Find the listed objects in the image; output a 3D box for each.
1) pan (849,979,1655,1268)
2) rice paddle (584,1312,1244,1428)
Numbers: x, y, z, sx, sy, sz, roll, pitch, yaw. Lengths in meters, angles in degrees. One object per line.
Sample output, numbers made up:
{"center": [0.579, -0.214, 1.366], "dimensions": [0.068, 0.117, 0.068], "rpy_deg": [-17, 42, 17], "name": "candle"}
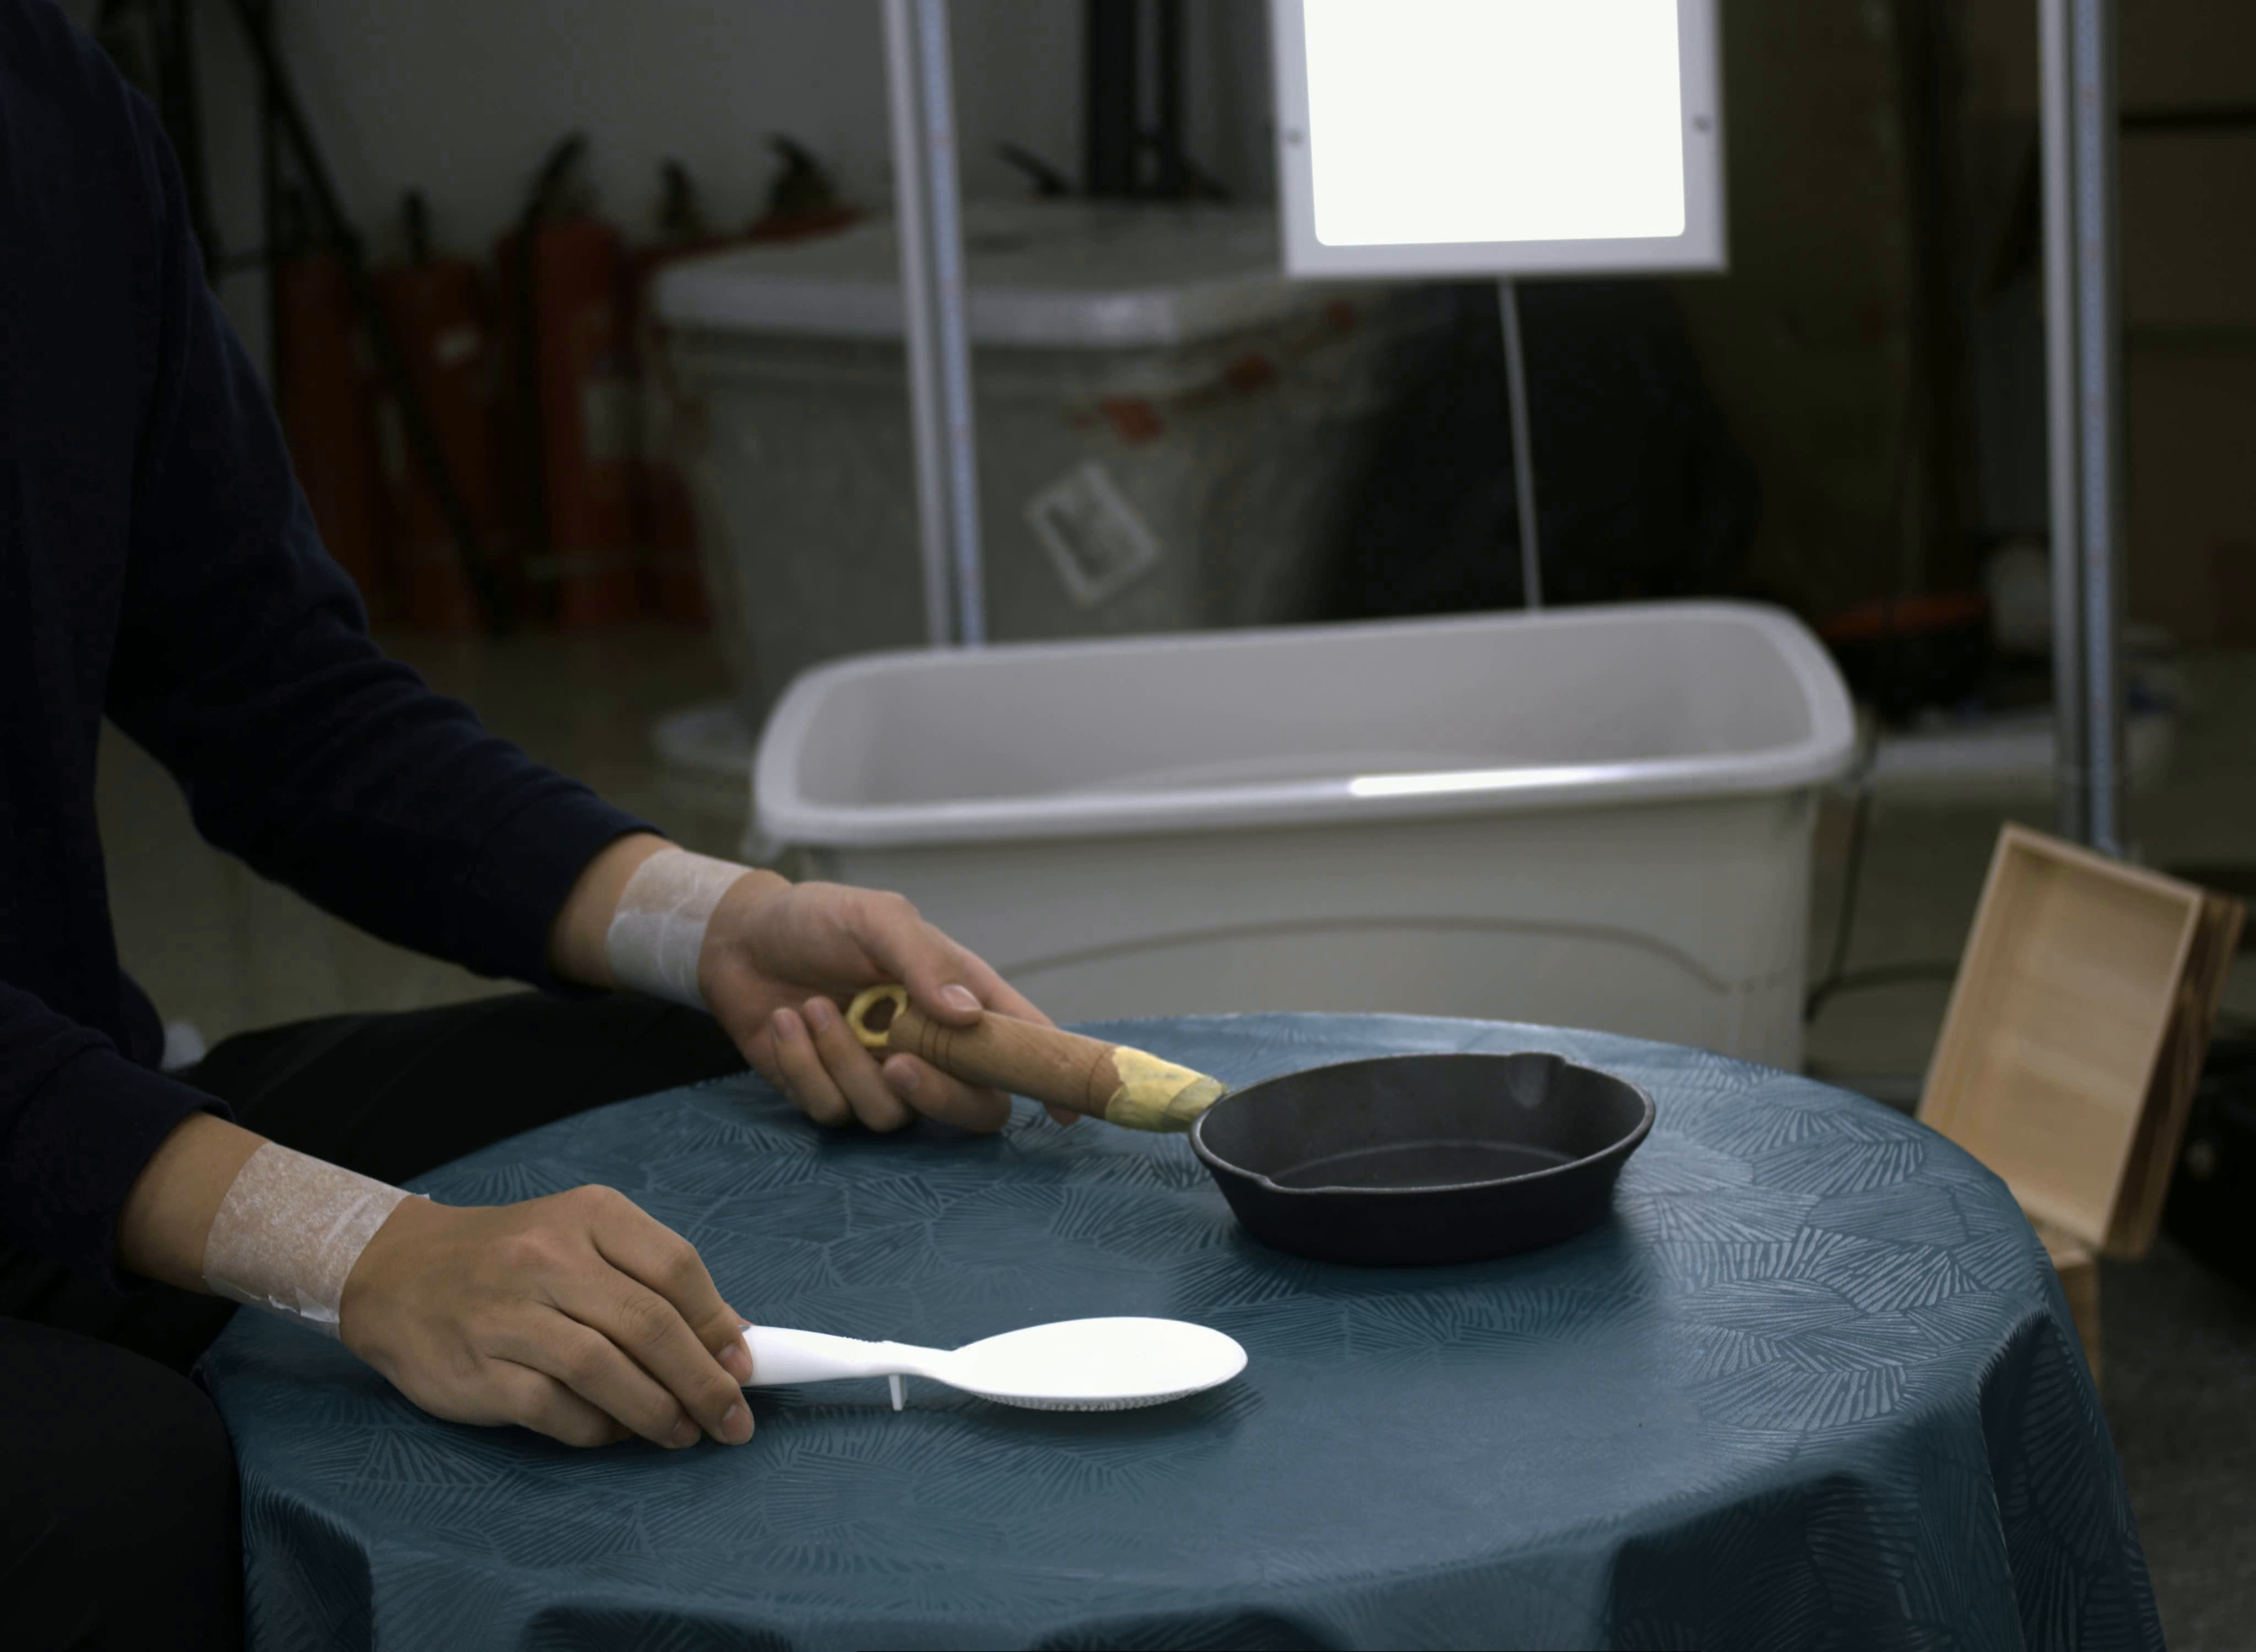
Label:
{"center": [0.033, 0.097, 1.899], "dimensions": [0.331, 0.050, 0.164], "rpy_deg": [8, 19, 39], "name": "pan"}
{"center": [-0.066, 0.165, 1.703], "dimensions": [0.206, 0.029, 0.068], "rpy_deg": [-3, 16, 10], "name": "rice paddle"}
